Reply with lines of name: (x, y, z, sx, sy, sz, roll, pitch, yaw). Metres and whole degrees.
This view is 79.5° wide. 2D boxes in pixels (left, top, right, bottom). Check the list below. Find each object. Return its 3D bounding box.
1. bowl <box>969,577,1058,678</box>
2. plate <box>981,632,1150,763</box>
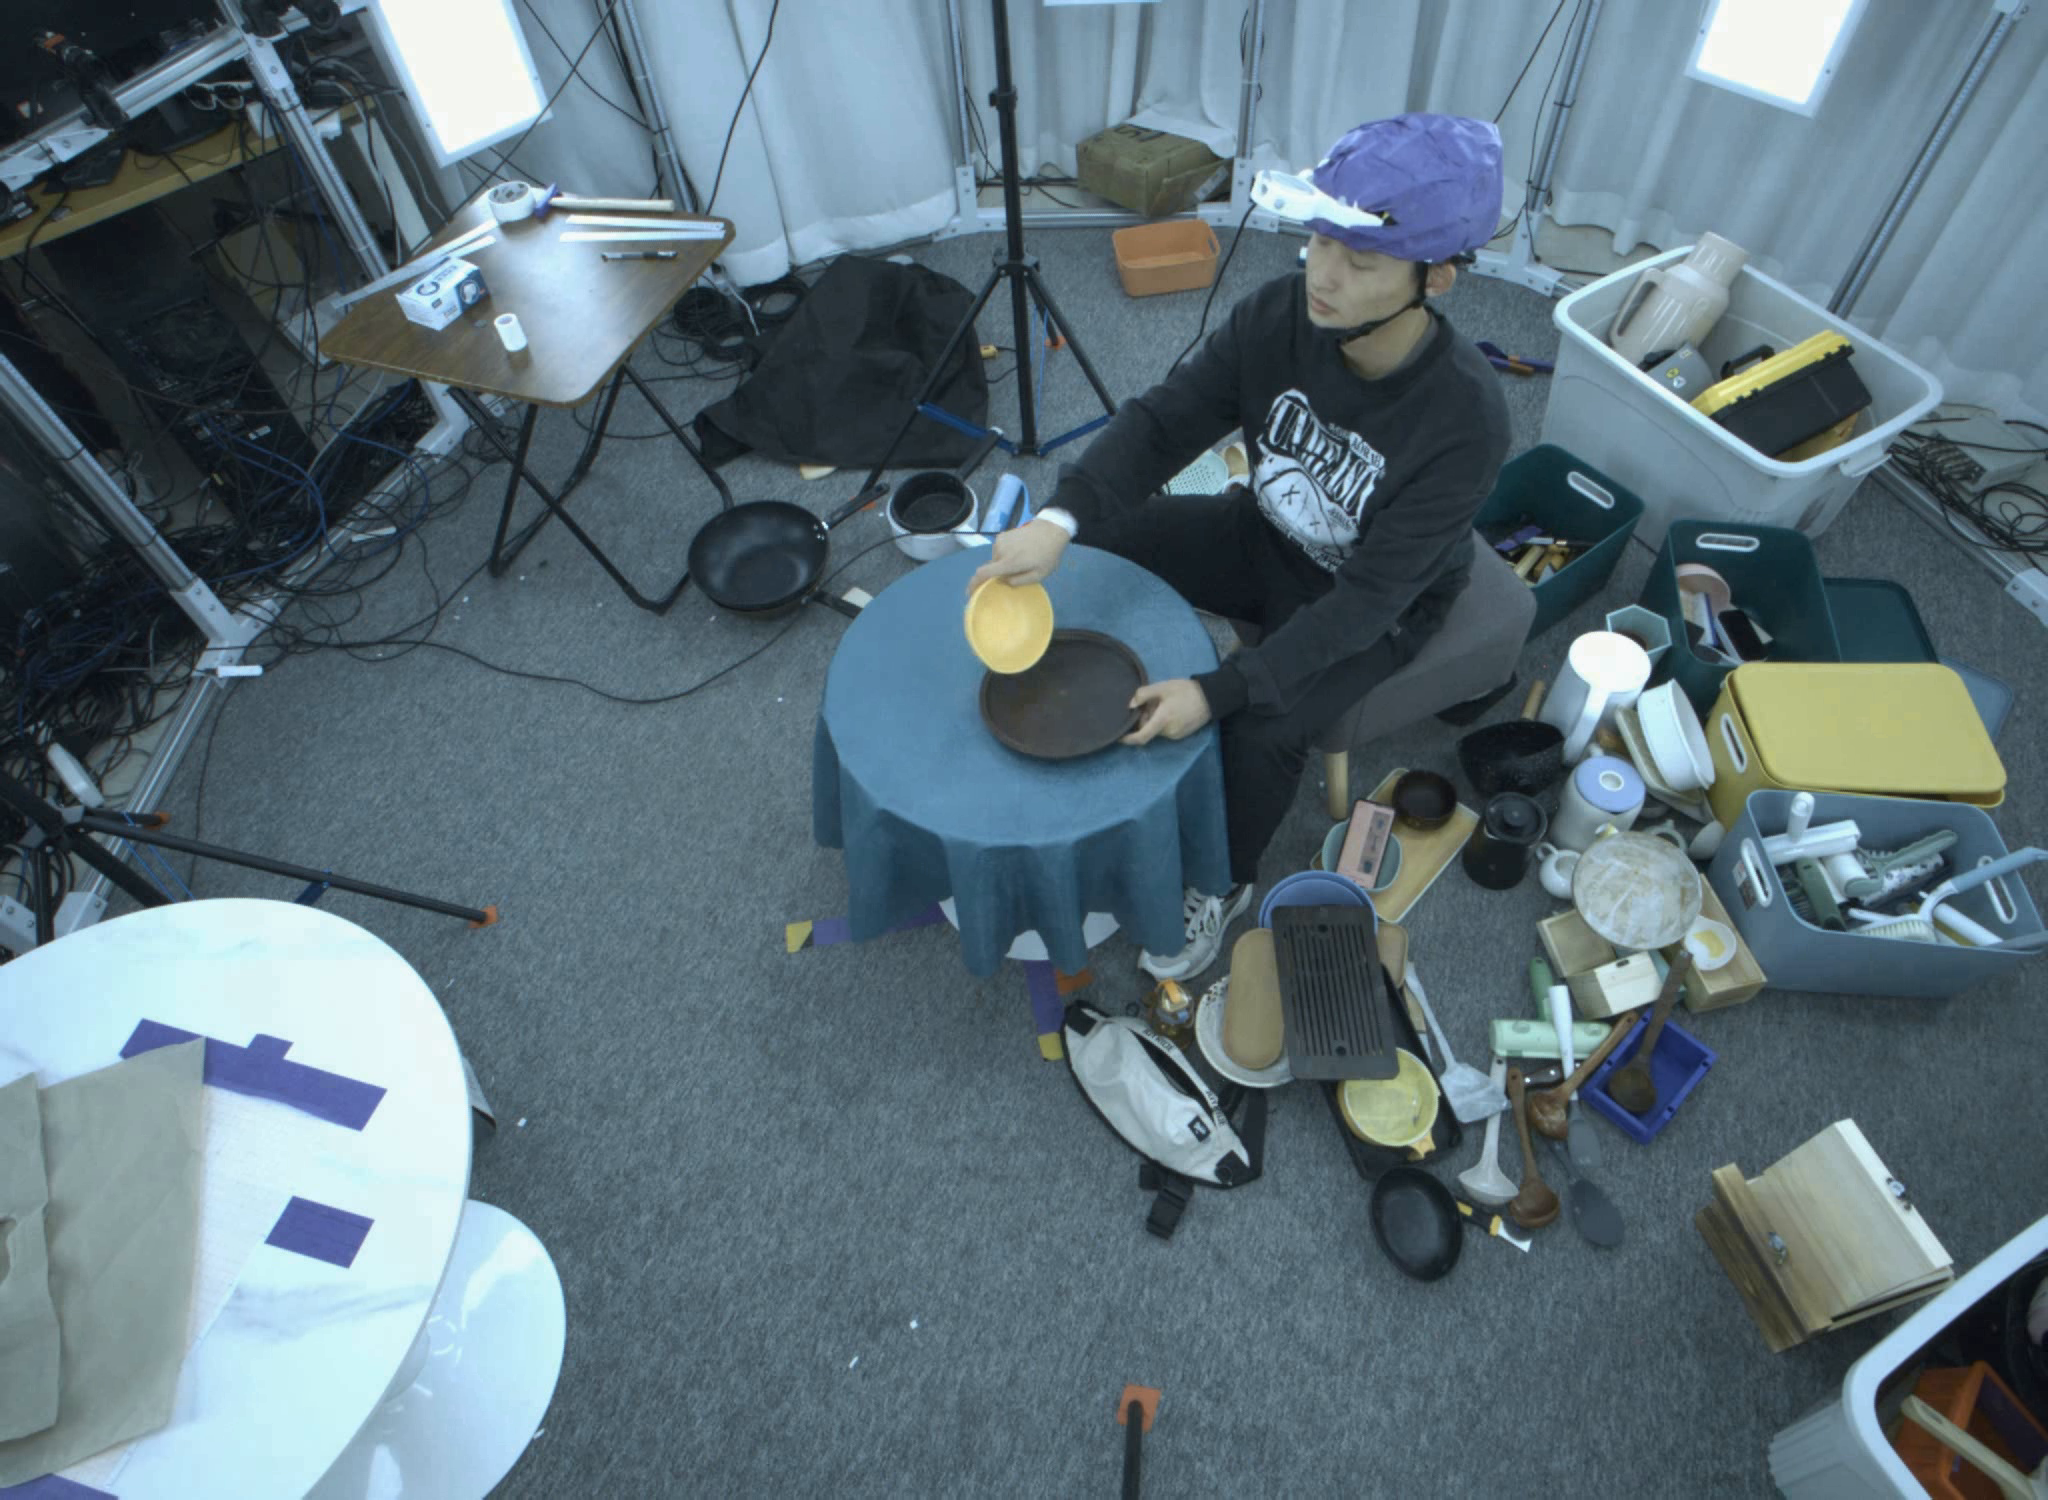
bowl: (-0.027, -0.180, 1.776, 0.146, 0.147, 0.059, -38, 30, -21)
plate: (0.062, -0.079, 1.826, 0.254, 0.029, 0.252, -3, 50, 5)
